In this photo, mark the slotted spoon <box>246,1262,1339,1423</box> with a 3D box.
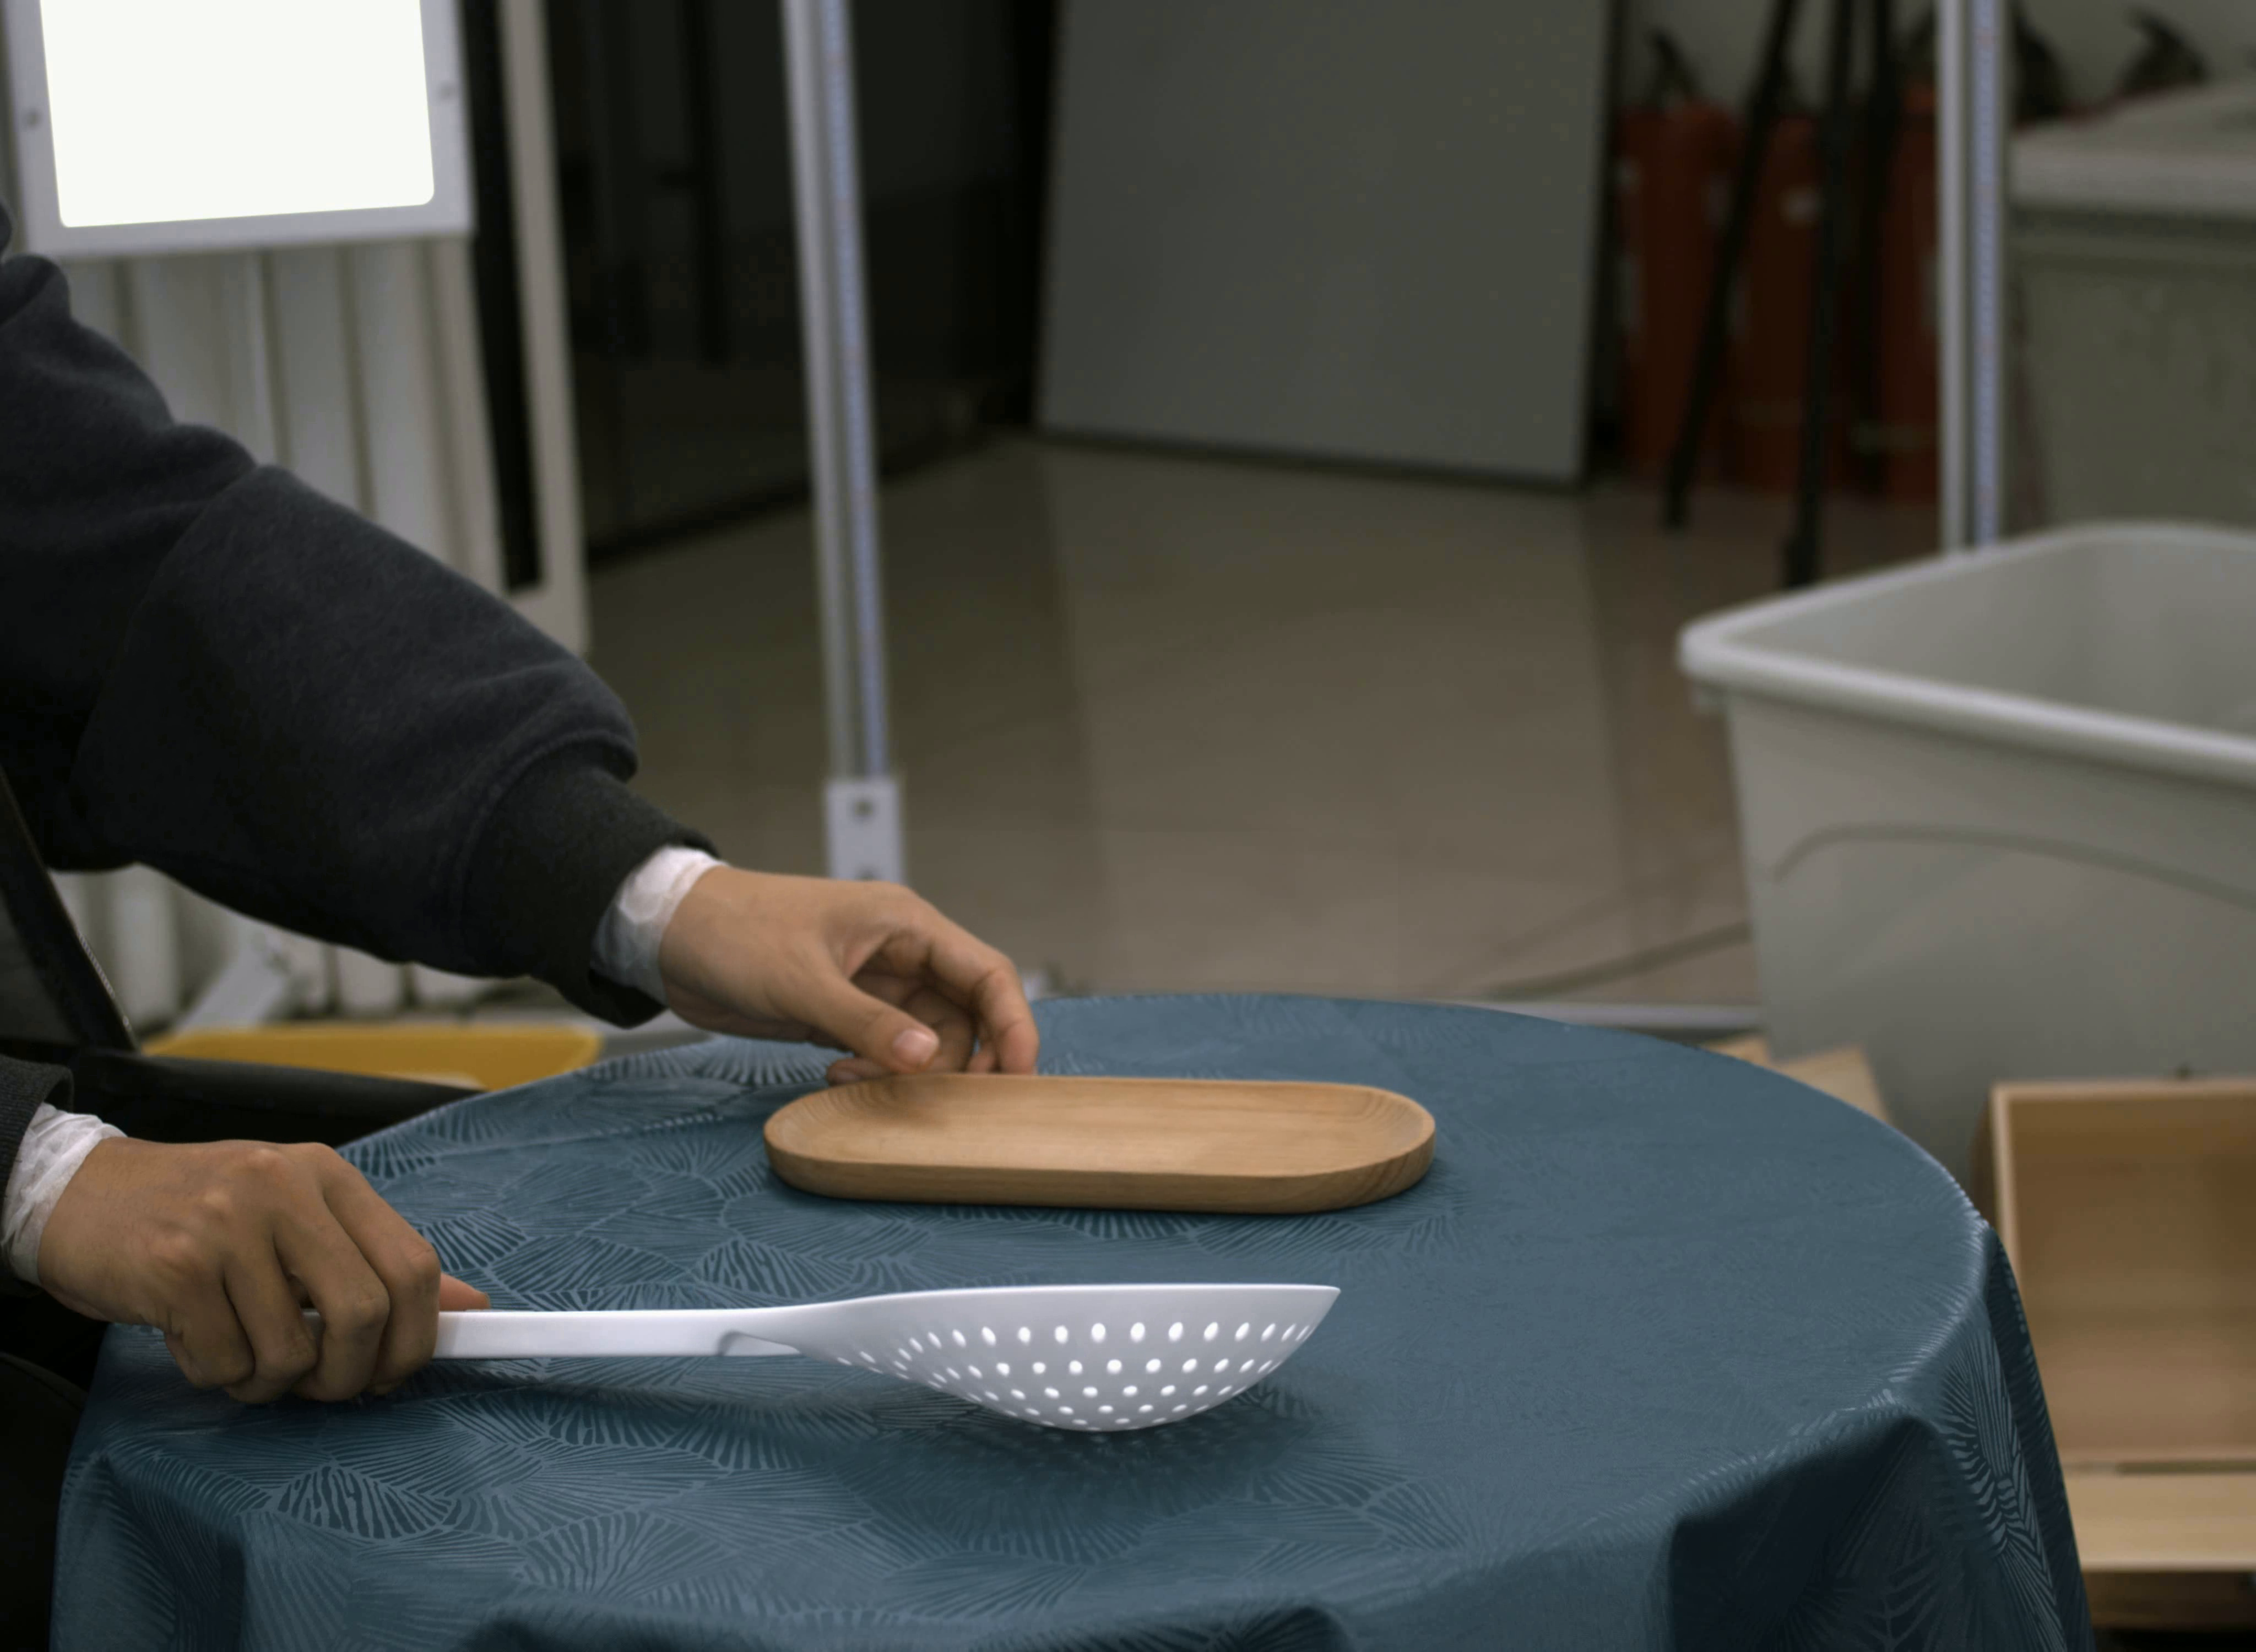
[{"bbox_3d":[-0.105,0.146,1.583,0.350,0.046,0.134,1,-8,24],"label":"slotted spoon"}]

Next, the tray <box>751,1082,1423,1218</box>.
[{"bbox_3d":[-0.014,0.108,1.794,0.230,0.020,0.101,-1,13,17],"label":"tray"}]
